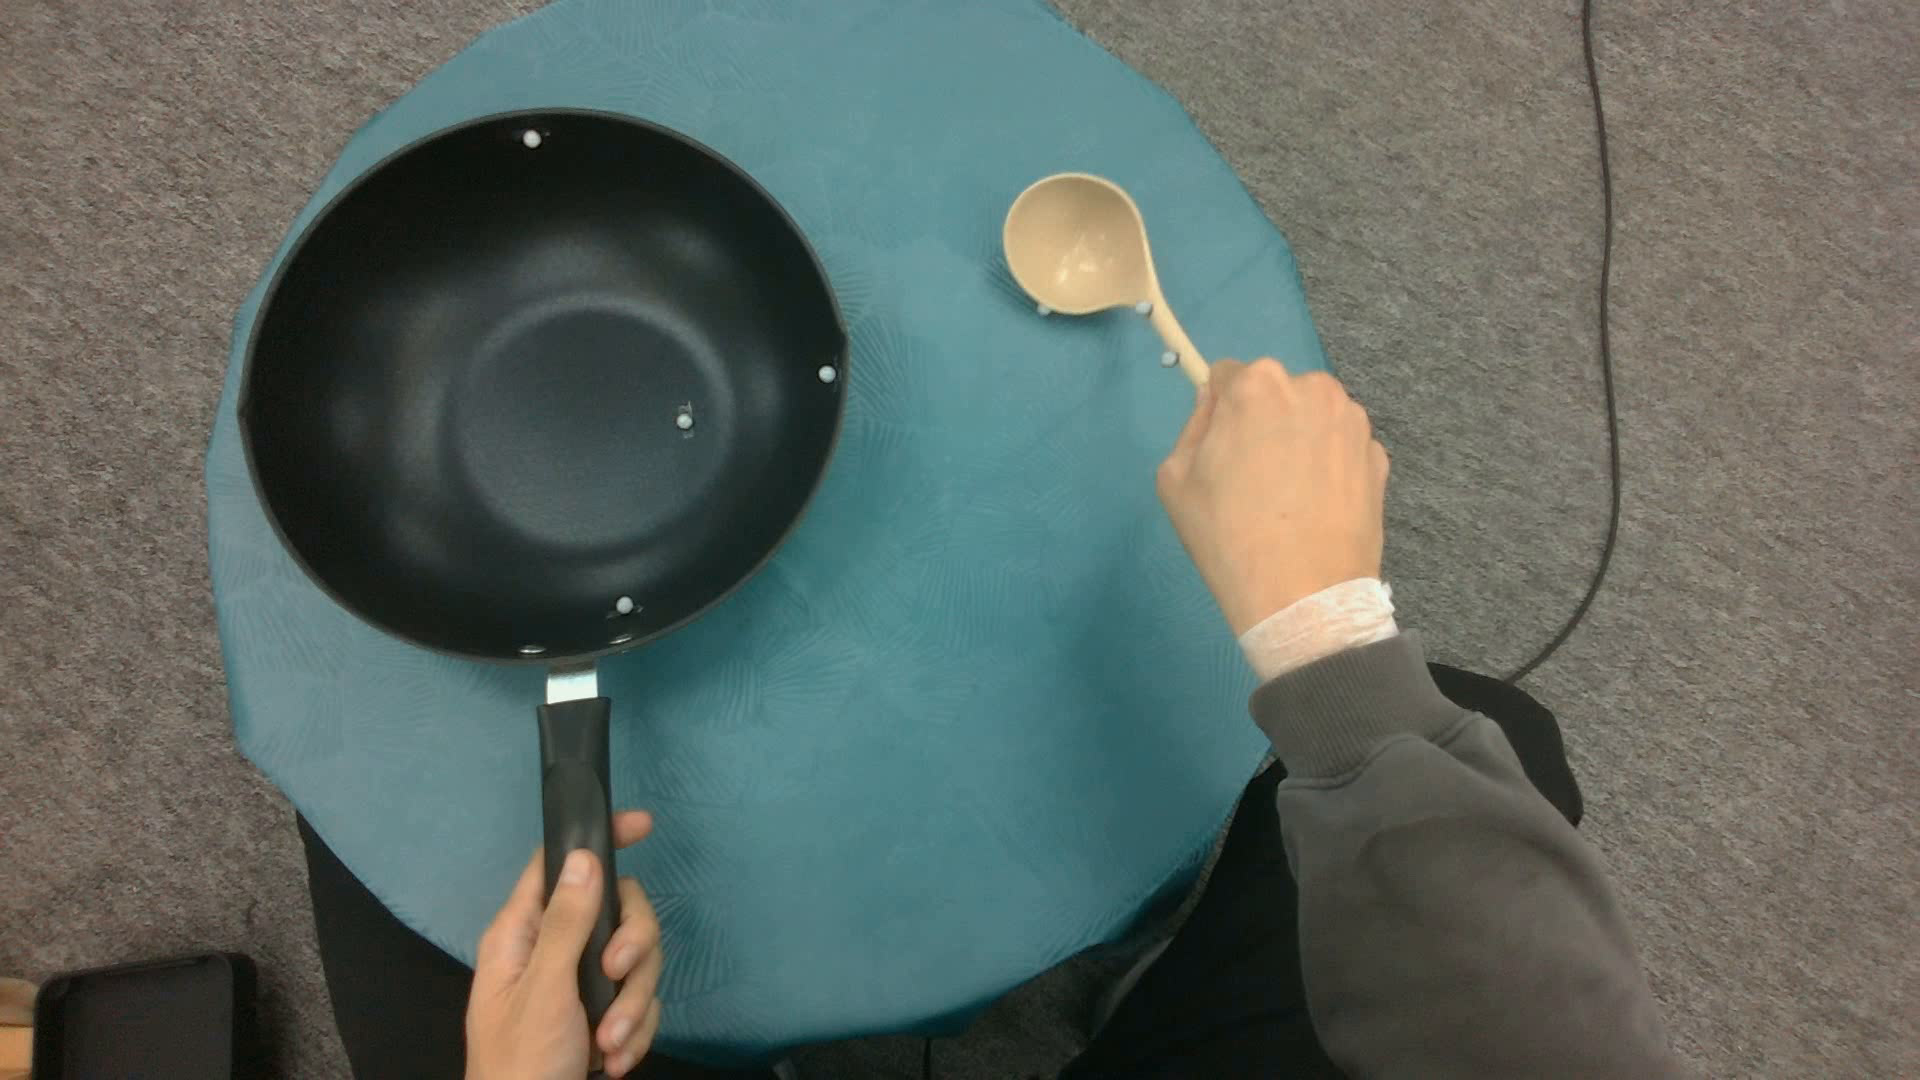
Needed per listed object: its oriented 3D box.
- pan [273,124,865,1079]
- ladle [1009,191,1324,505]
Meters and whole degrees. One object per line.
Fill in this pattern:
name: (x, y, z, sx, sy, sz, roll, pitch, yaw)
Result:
pan: (-0.179, 0.021, 0.688, 0.288, 0.086, 0.464, -7, 78, -3)
ladle: (0.089, -0.097, 0.663, 0.073, 0.255, 0.072, 17, 117, -26)
